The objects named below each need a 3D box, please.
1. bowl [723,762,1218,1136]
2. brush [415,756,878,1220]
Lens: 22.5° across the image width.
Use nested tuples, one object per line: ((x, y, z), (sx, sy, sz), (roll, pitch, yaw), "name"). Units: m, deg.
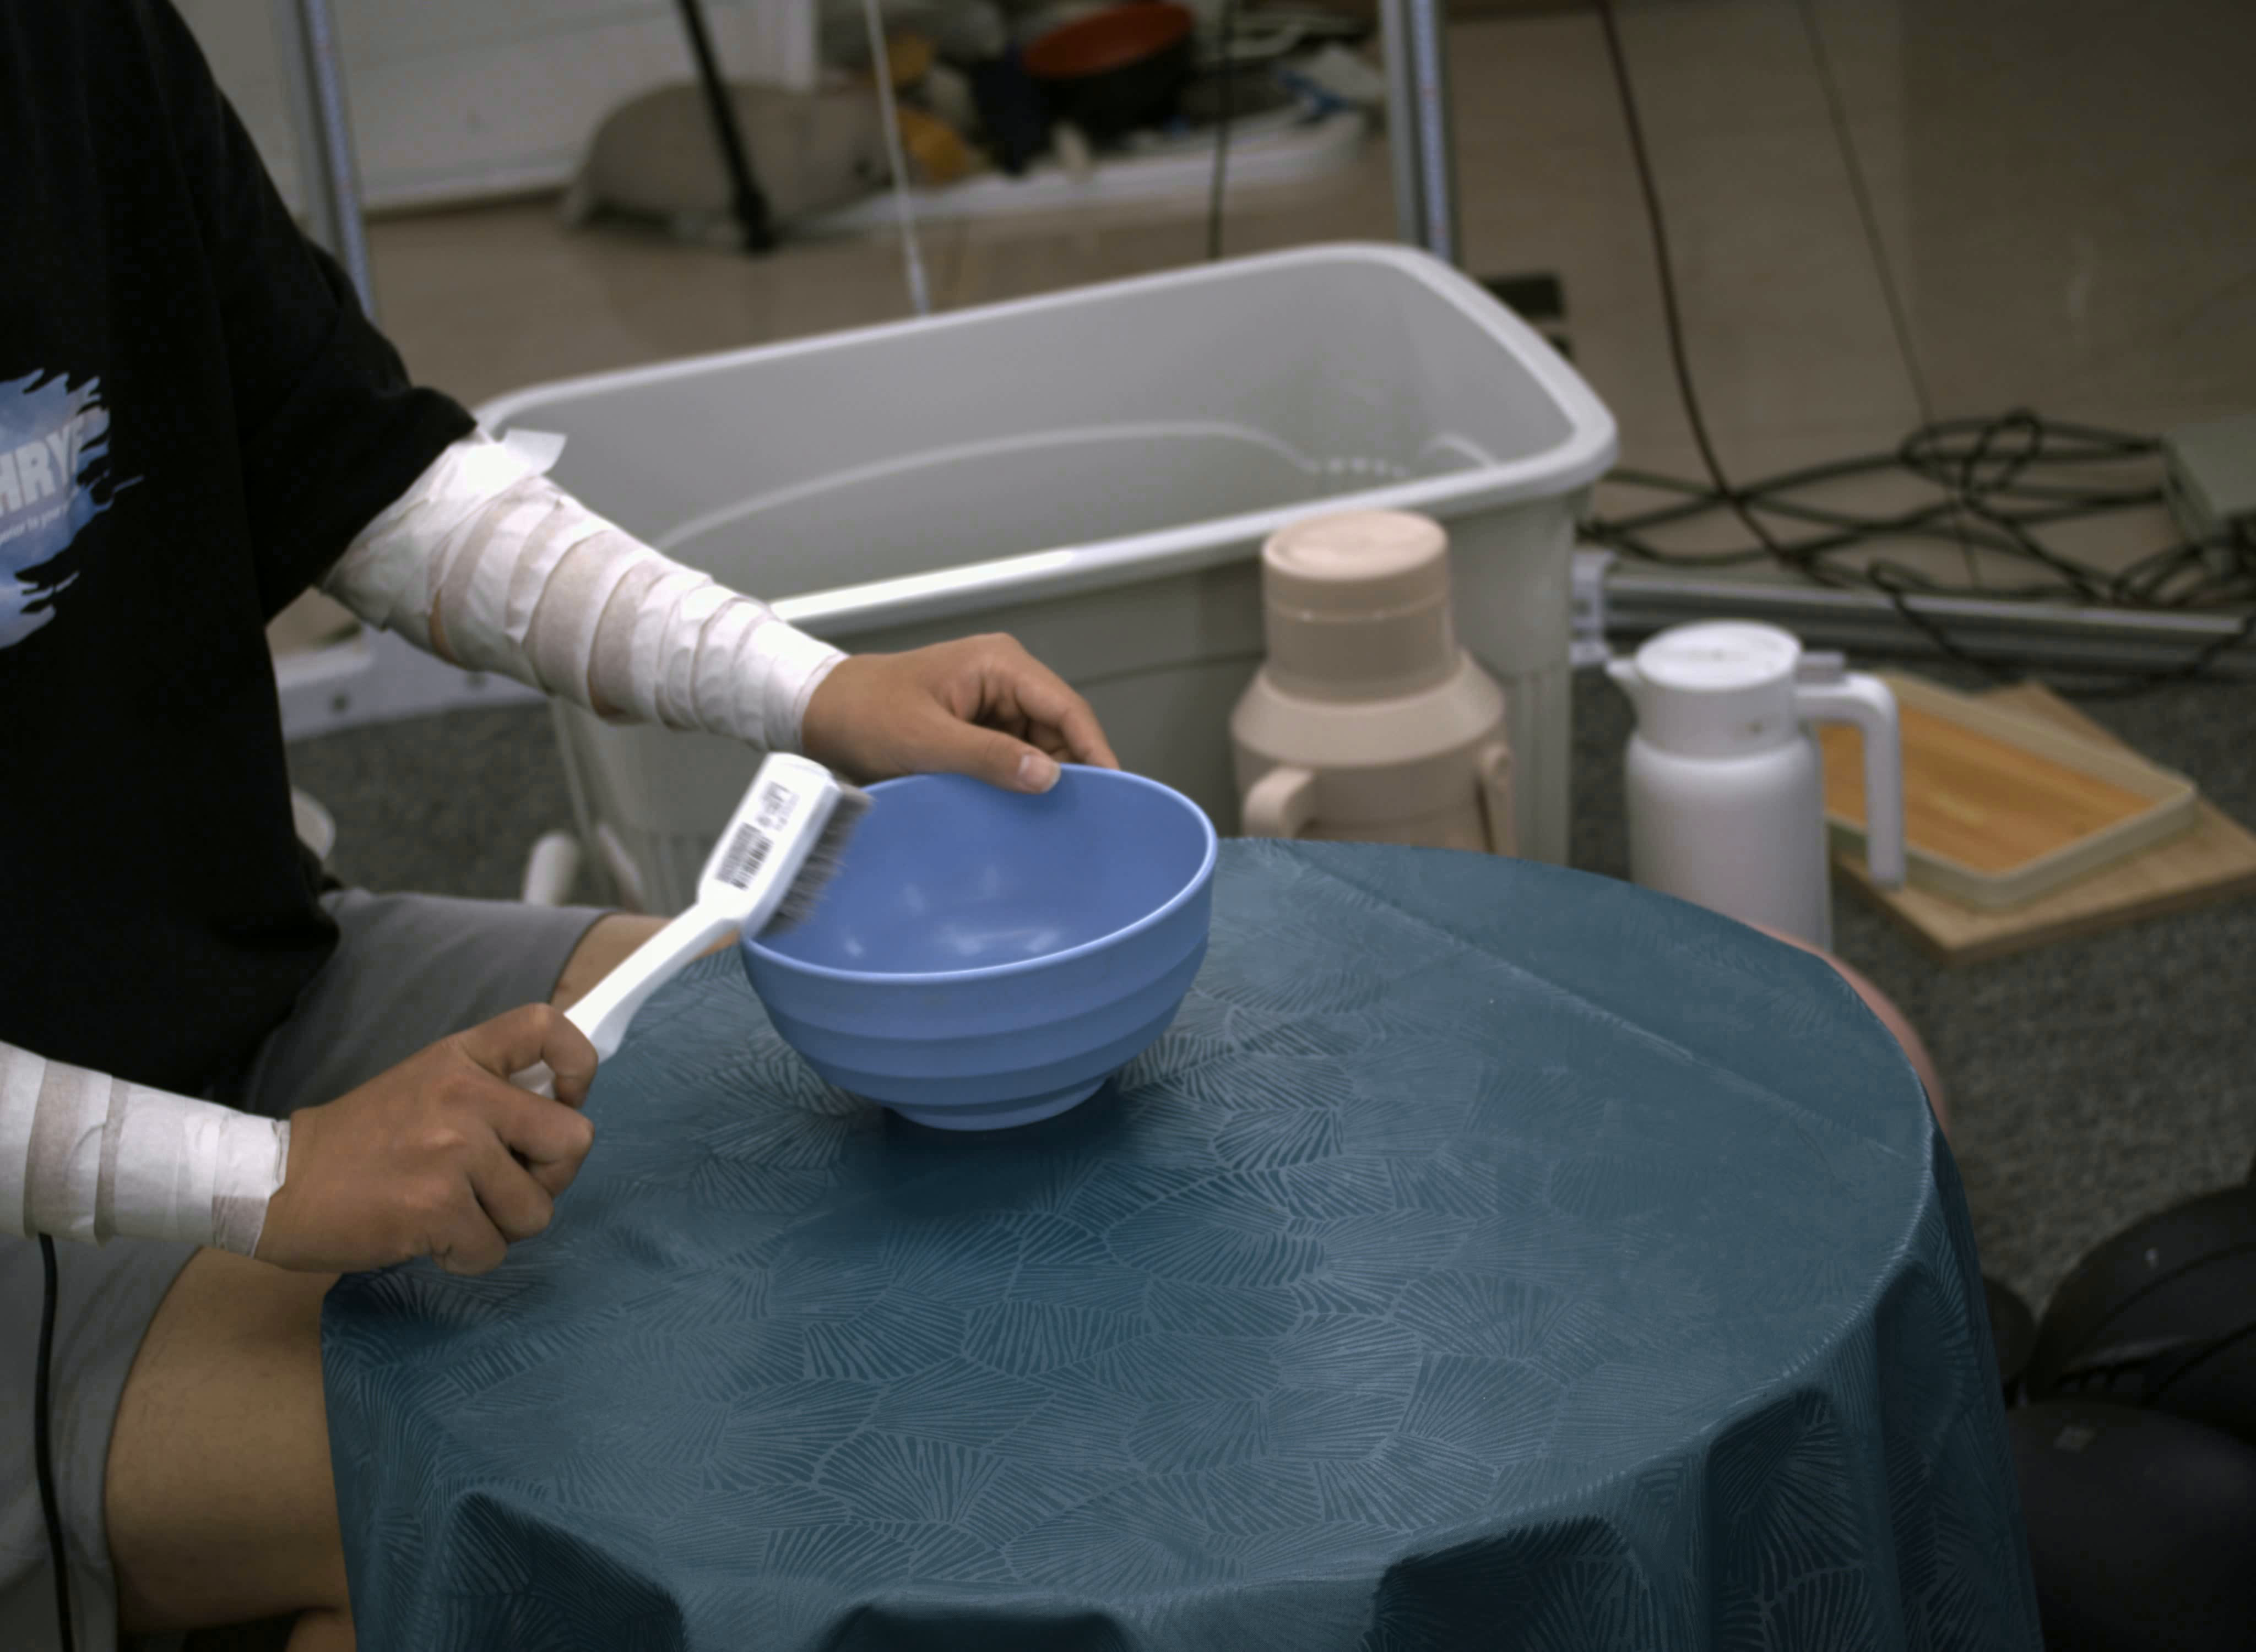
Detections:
((-0.056, 0.059, 2.226), (0.196, 0.097, 0.193), (-7, 26, 4), "bowl")
((-0.181, 0.068, 2.151), (0.034, 0.051, 0.241), (25, 66, 36), "brush")
